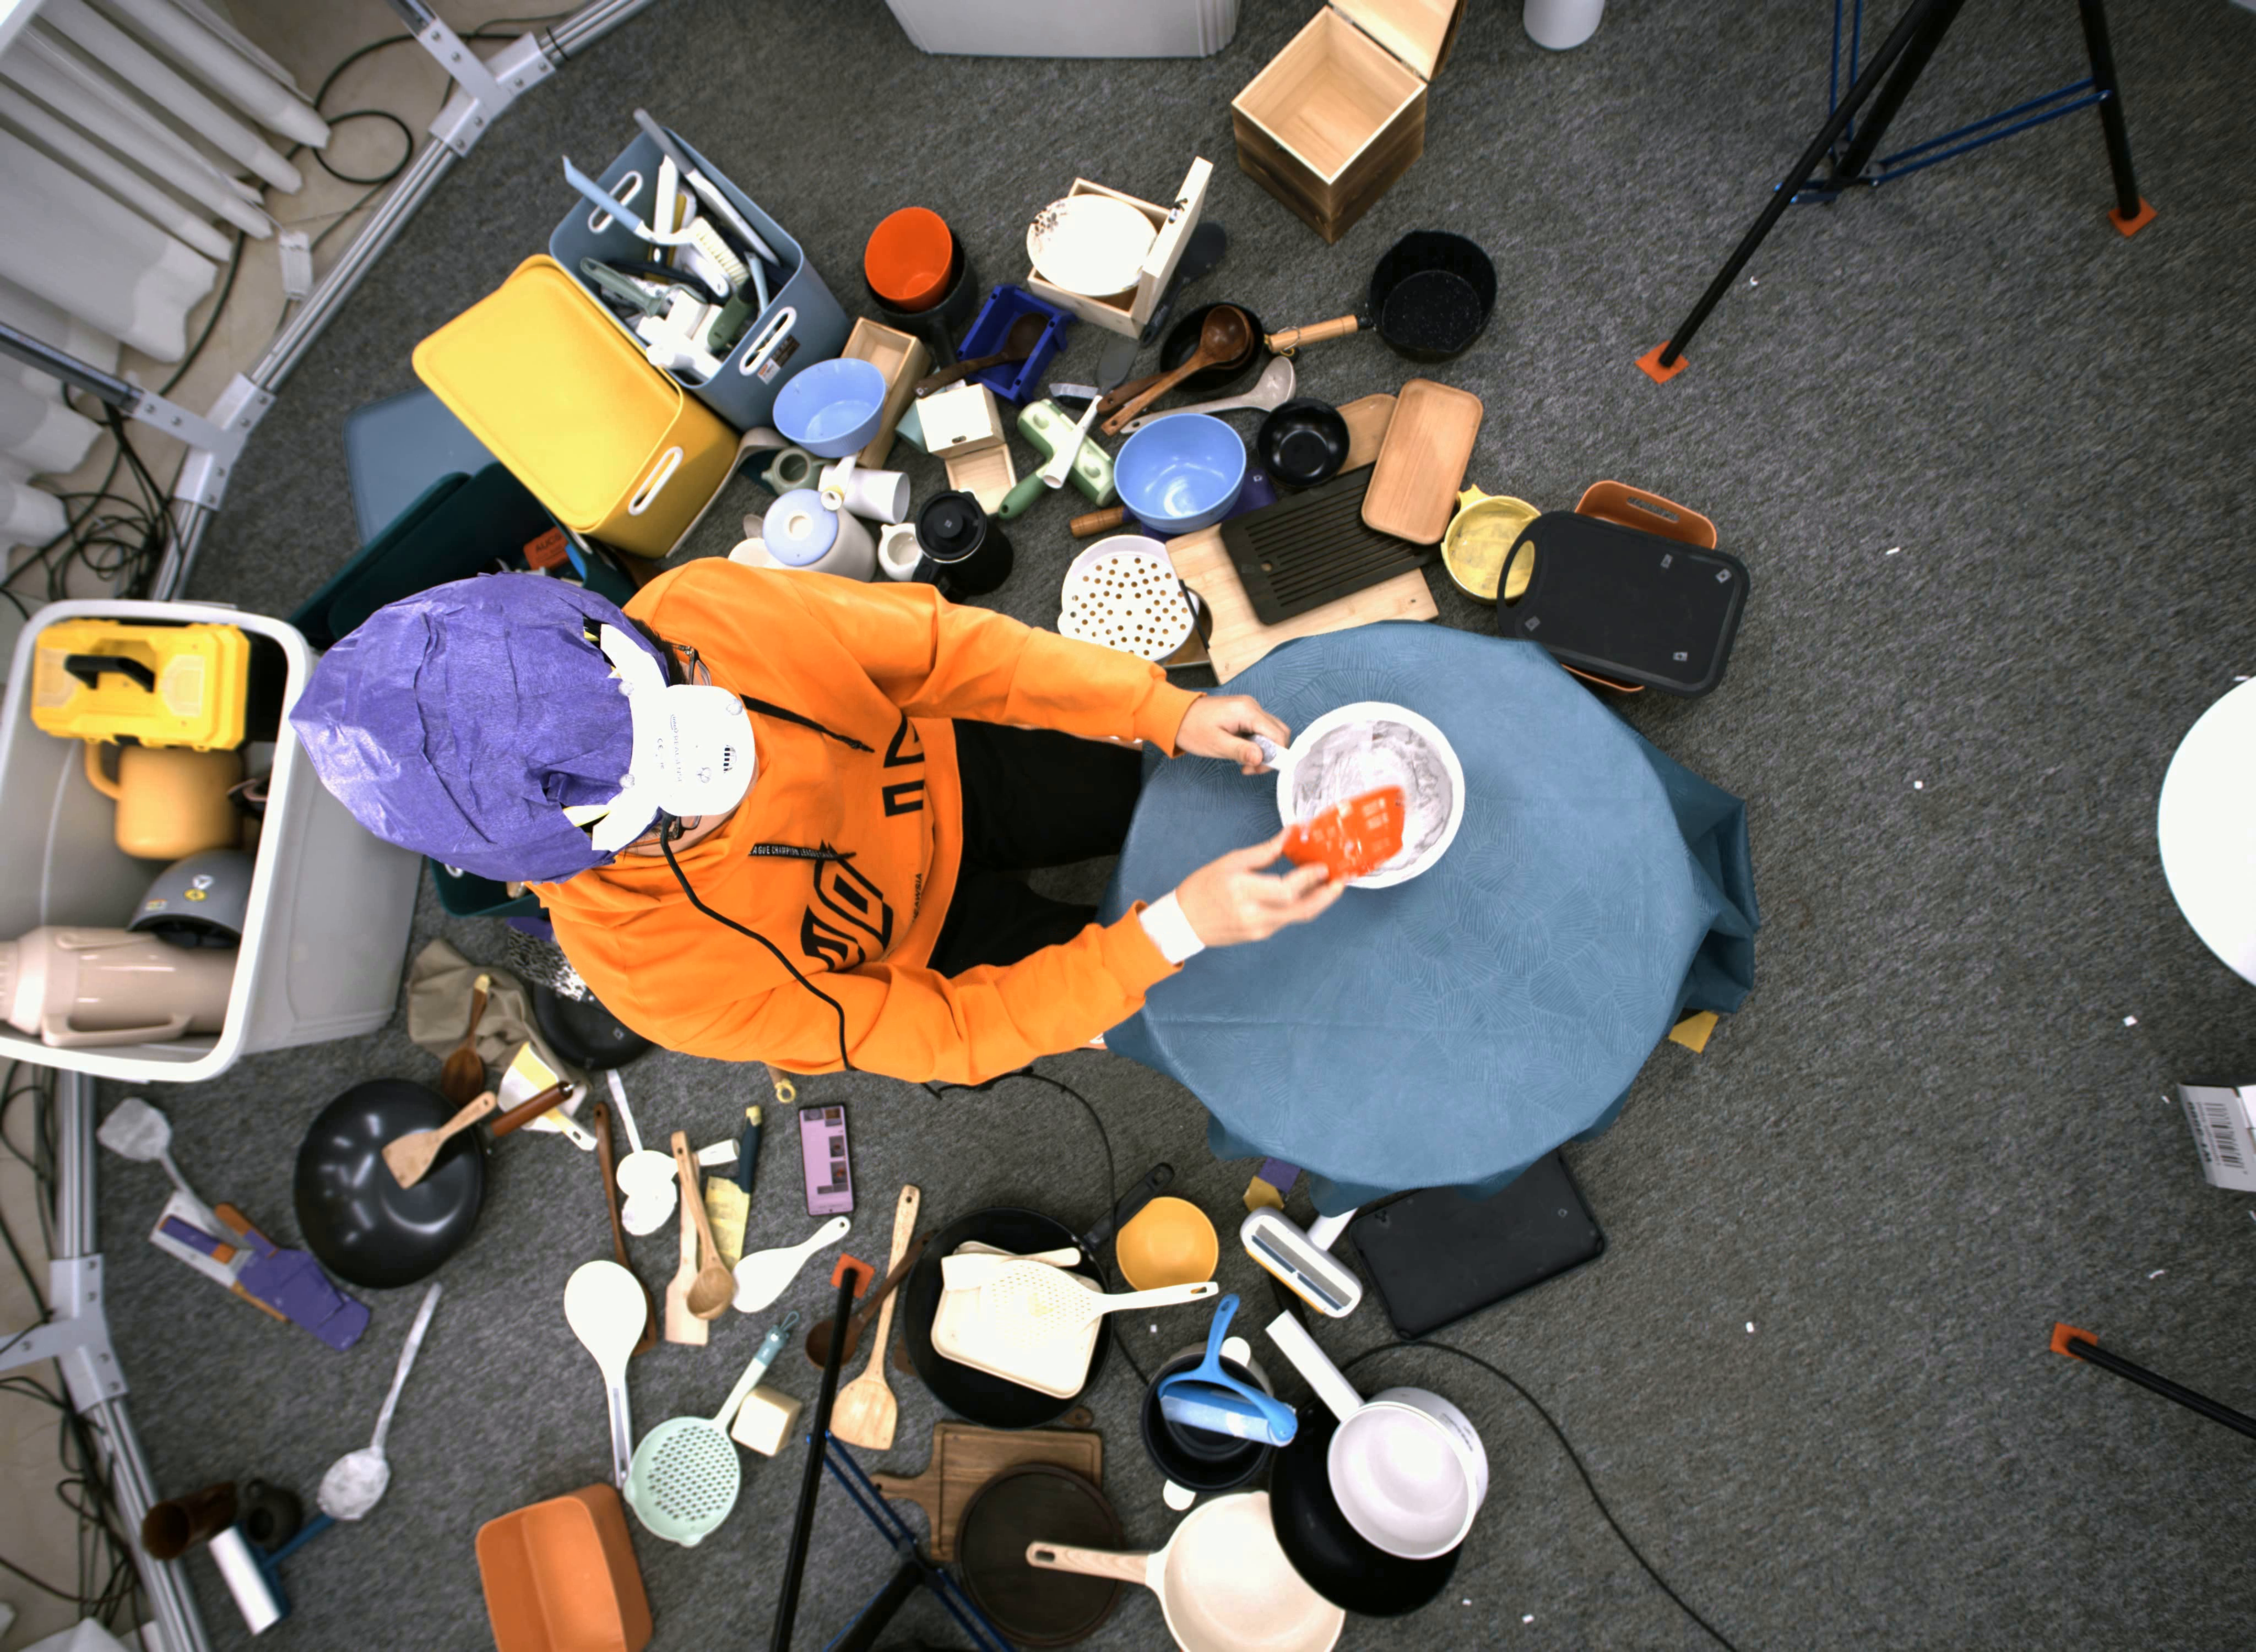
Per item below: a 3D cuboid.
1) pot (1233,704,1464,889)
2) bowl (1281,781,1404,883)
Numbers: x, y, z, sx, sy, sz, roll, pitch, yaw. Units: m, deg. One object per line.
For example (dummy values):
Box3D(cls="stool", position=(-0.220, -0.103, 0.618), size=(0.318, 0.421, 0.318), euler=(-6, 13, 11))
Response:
Box3D(cls="pot", position=(0.214, -0.038, 1.377), size=(0.234, 0.136, 0.179), euler=(22, 94, 8))
Box3D(cls="bowl", position=(0.200, 0.010, 1.236), size=(0.119, 0.119, 0.051), euler=(-28, 73, 6))
